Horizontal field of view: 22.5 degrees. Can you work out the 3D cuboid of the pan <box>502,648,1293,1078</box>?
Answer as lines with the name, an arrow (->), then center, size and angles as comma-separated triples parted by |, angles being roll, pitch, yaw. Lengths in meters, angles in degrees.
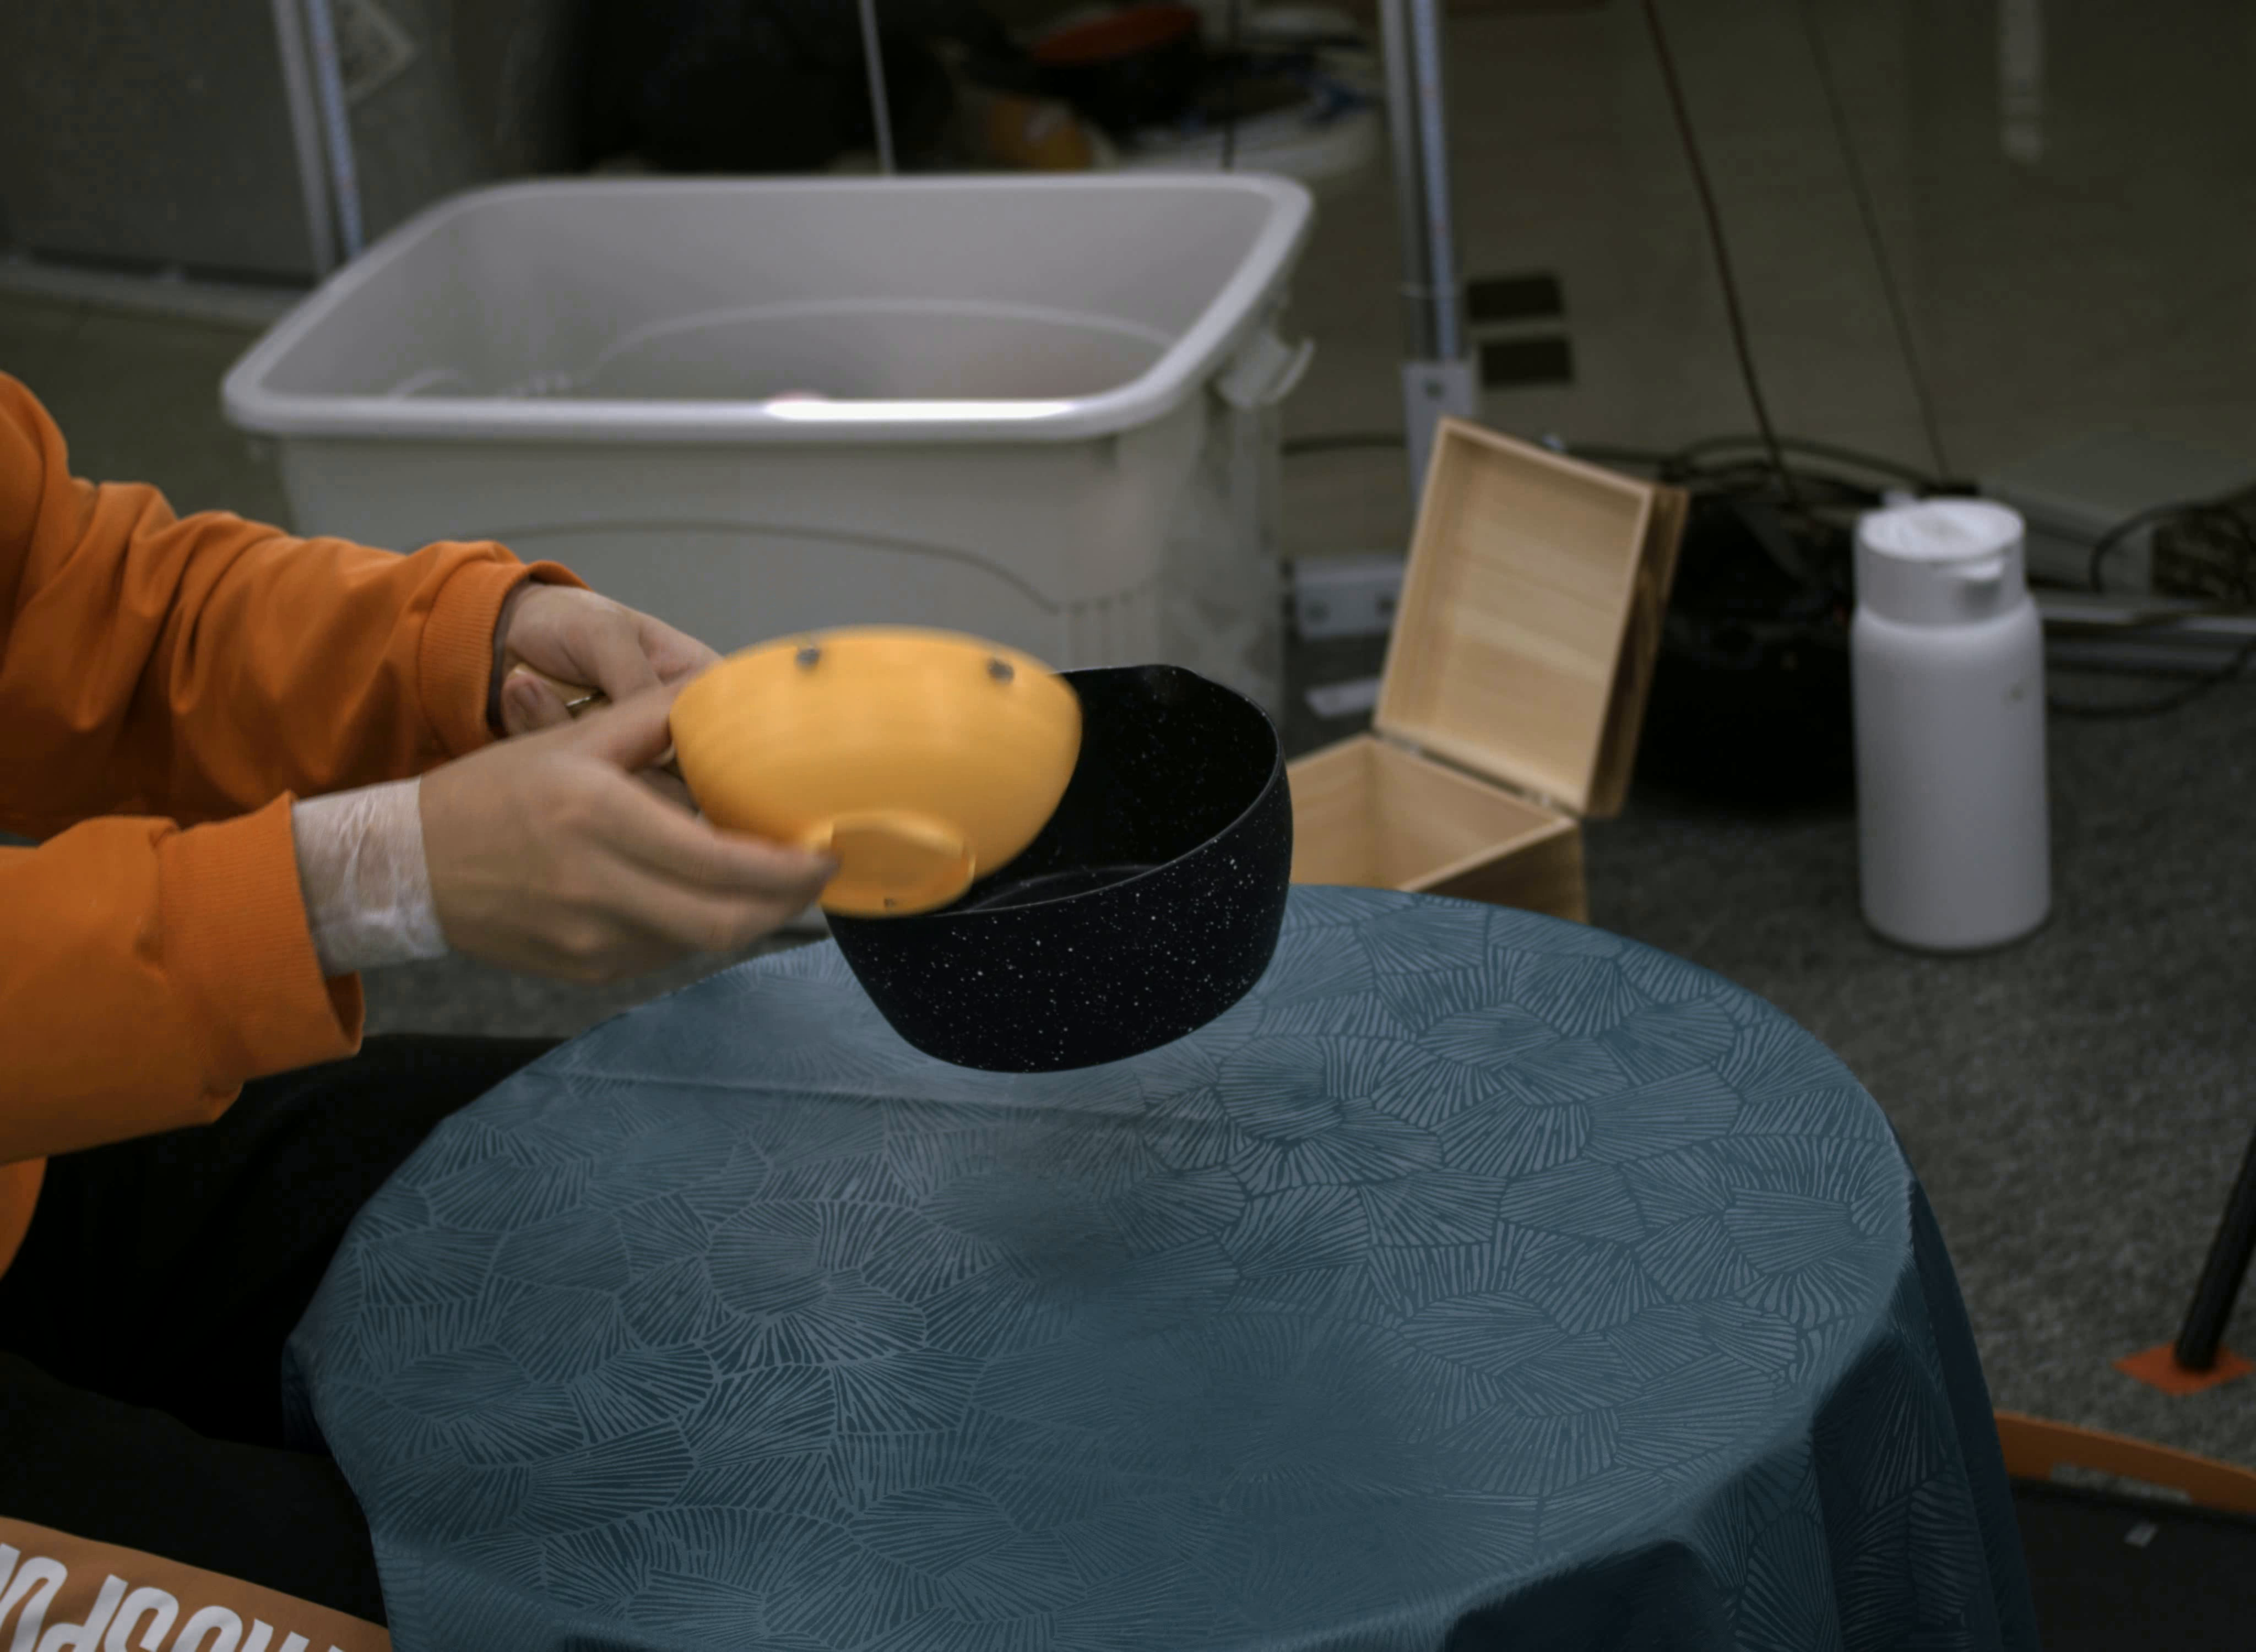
pan -> -0.095, 0.001, 2.180 | 0.341, 0.110, 0.204 | 8, 36, 30

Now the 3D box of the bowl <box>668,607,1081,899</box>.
bowl -> -0.087, -0.015, 1.957 | 0.145, 0.147, 0.059 | -4, 63, 4
